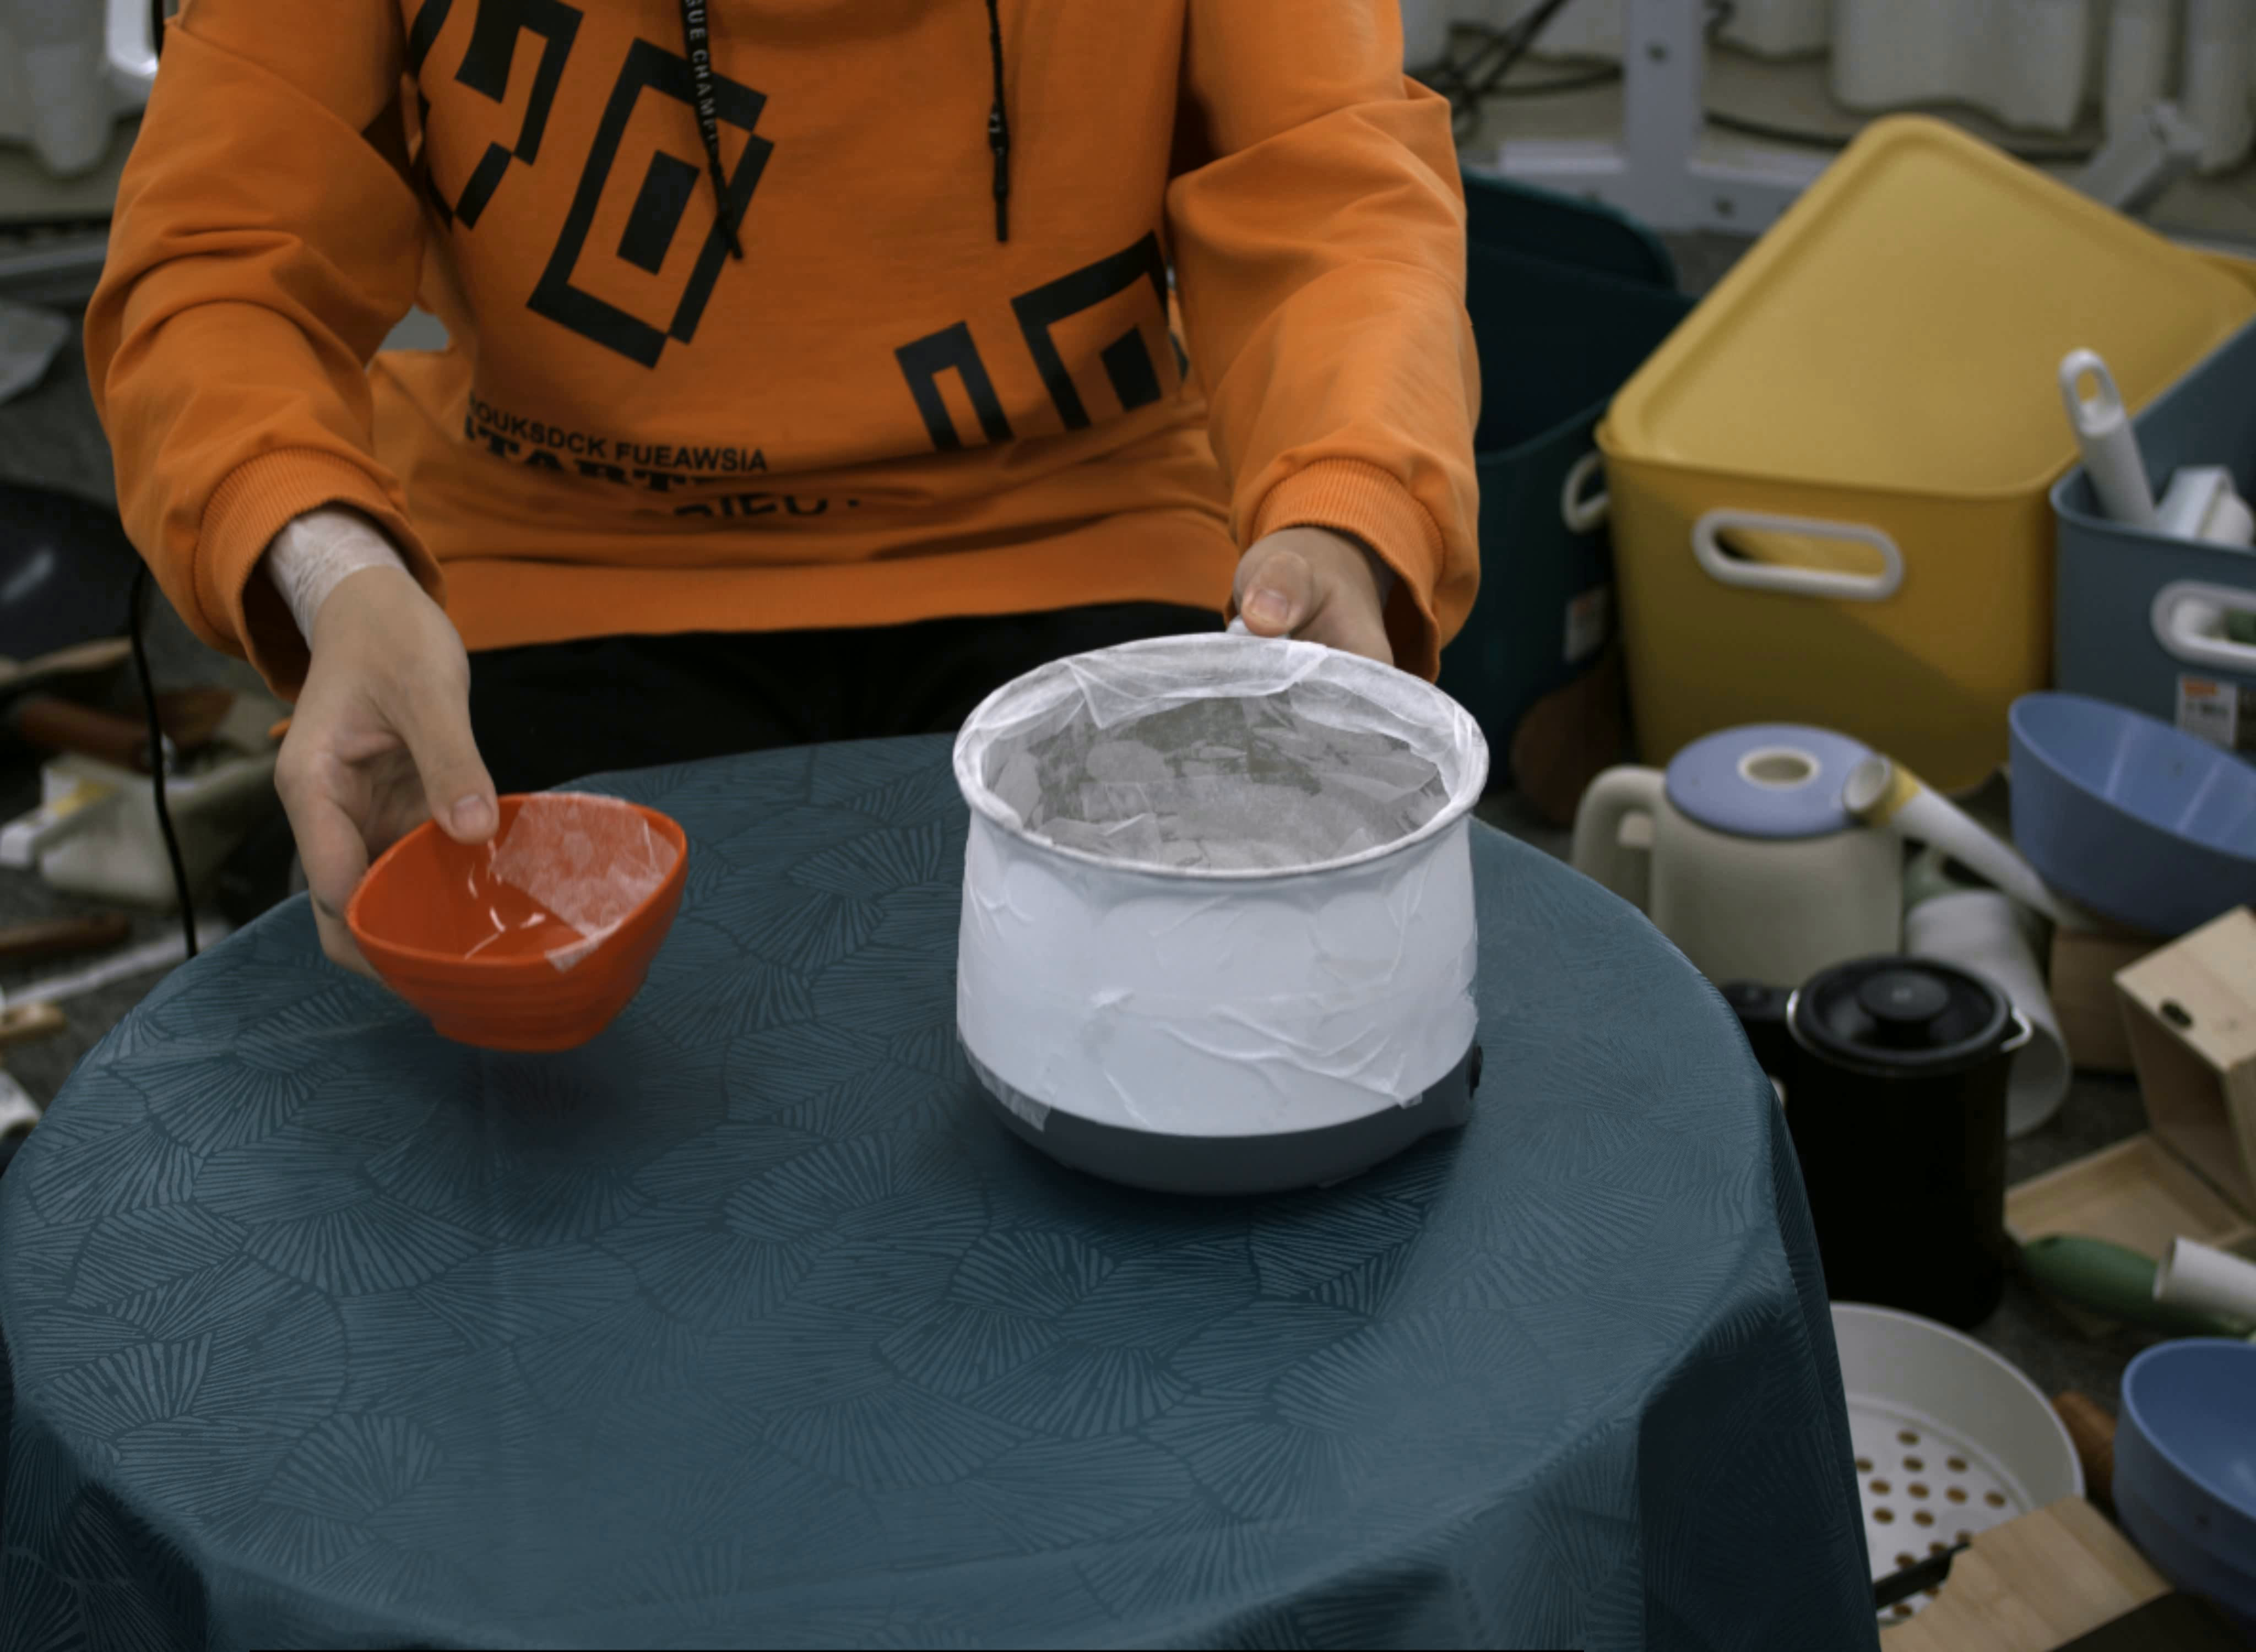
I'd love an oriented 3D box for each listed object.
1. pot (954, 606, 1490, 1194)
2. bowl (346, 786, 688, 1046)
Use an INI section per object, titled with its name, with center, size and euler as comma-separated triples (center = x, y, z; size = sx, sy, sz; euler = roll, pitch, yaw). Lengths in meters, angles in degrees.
[pot]
center = 0.033, 0.018, 1.902
size = 0.178, 0.135, 0.237
euler = 3, 26, 5
[bowl]
center = -0.203, 0.035, 1.907
size = 0.118, 0.051, 0.121
euler = -7, 29, 4
